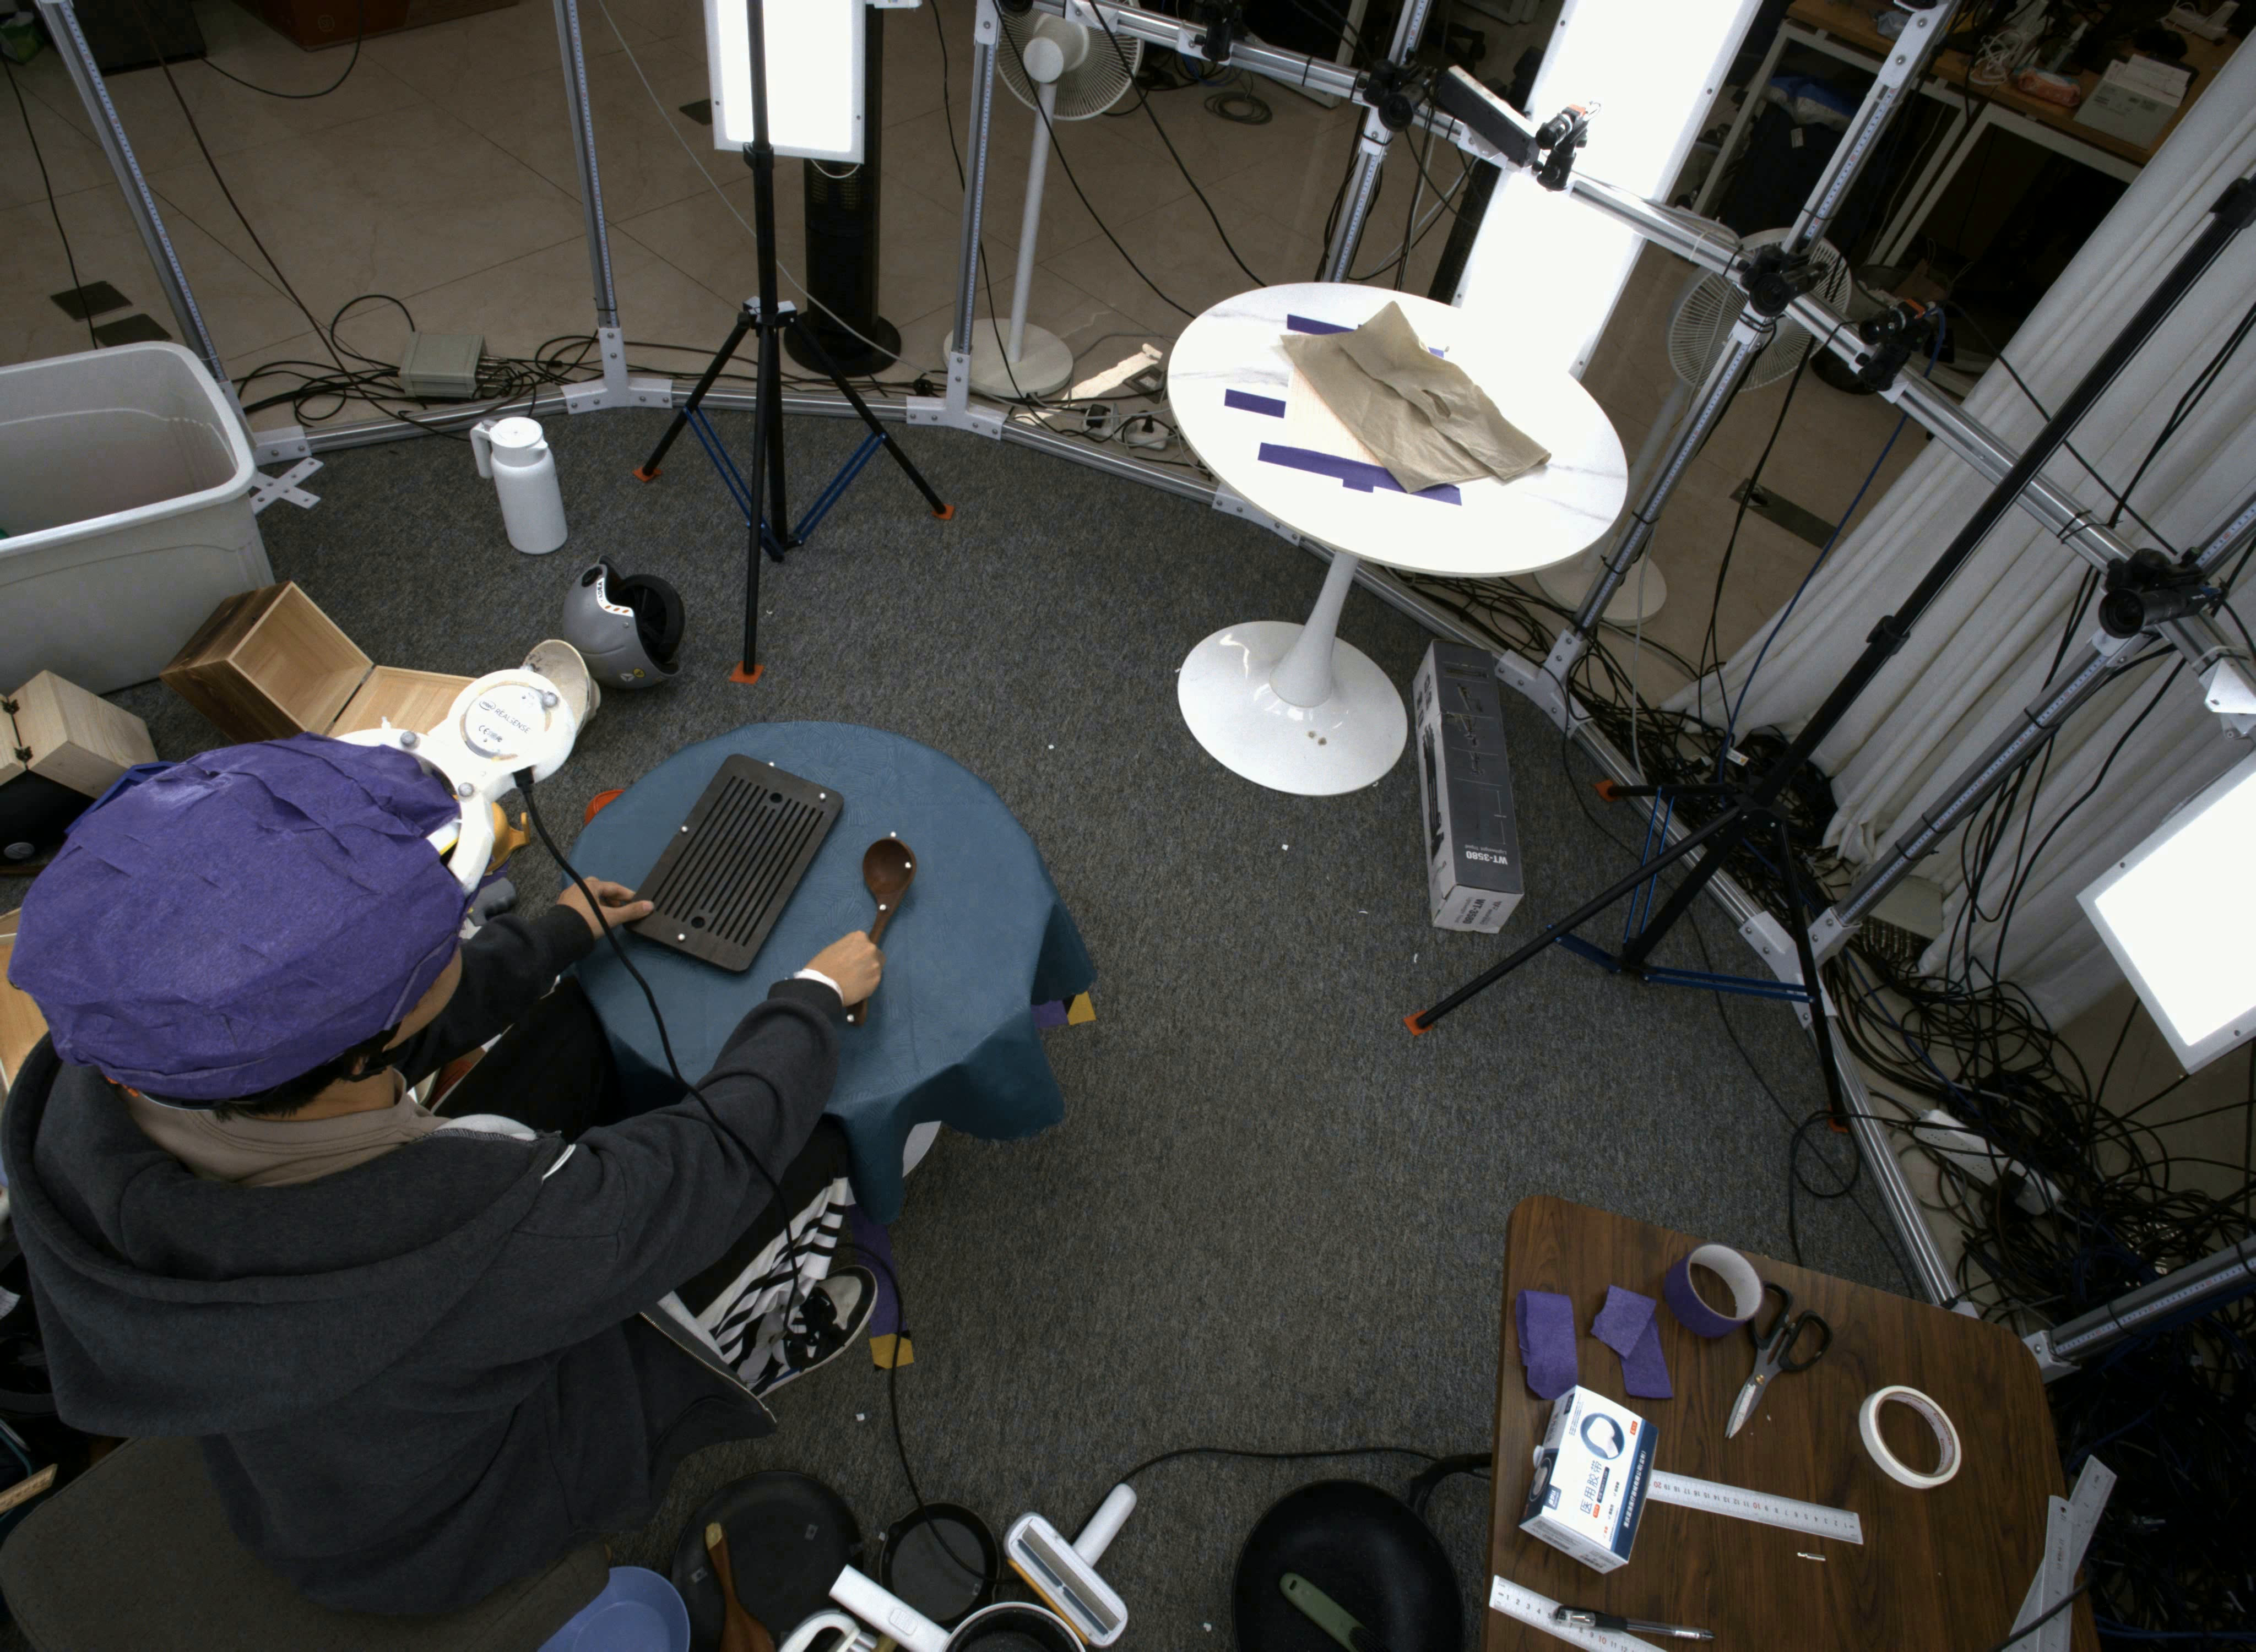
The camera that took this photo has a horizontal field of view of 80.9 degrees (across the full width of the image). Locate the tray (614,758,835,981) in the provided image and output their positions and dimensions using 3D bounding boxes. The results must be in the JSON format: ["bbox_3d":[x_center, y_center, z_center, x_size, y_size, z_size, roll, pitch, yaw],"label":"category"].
[{"bbox_3d":[-0.512,0.048,1.652,0.169,0.019,0.303,22,52,-2],"label":"tray"}]

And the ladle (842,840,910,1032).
[{"bbox_3d":[-0.327,0.129,1.614,0.075,0.068,0.256,-10,47,21],"label":"ladle"}]
